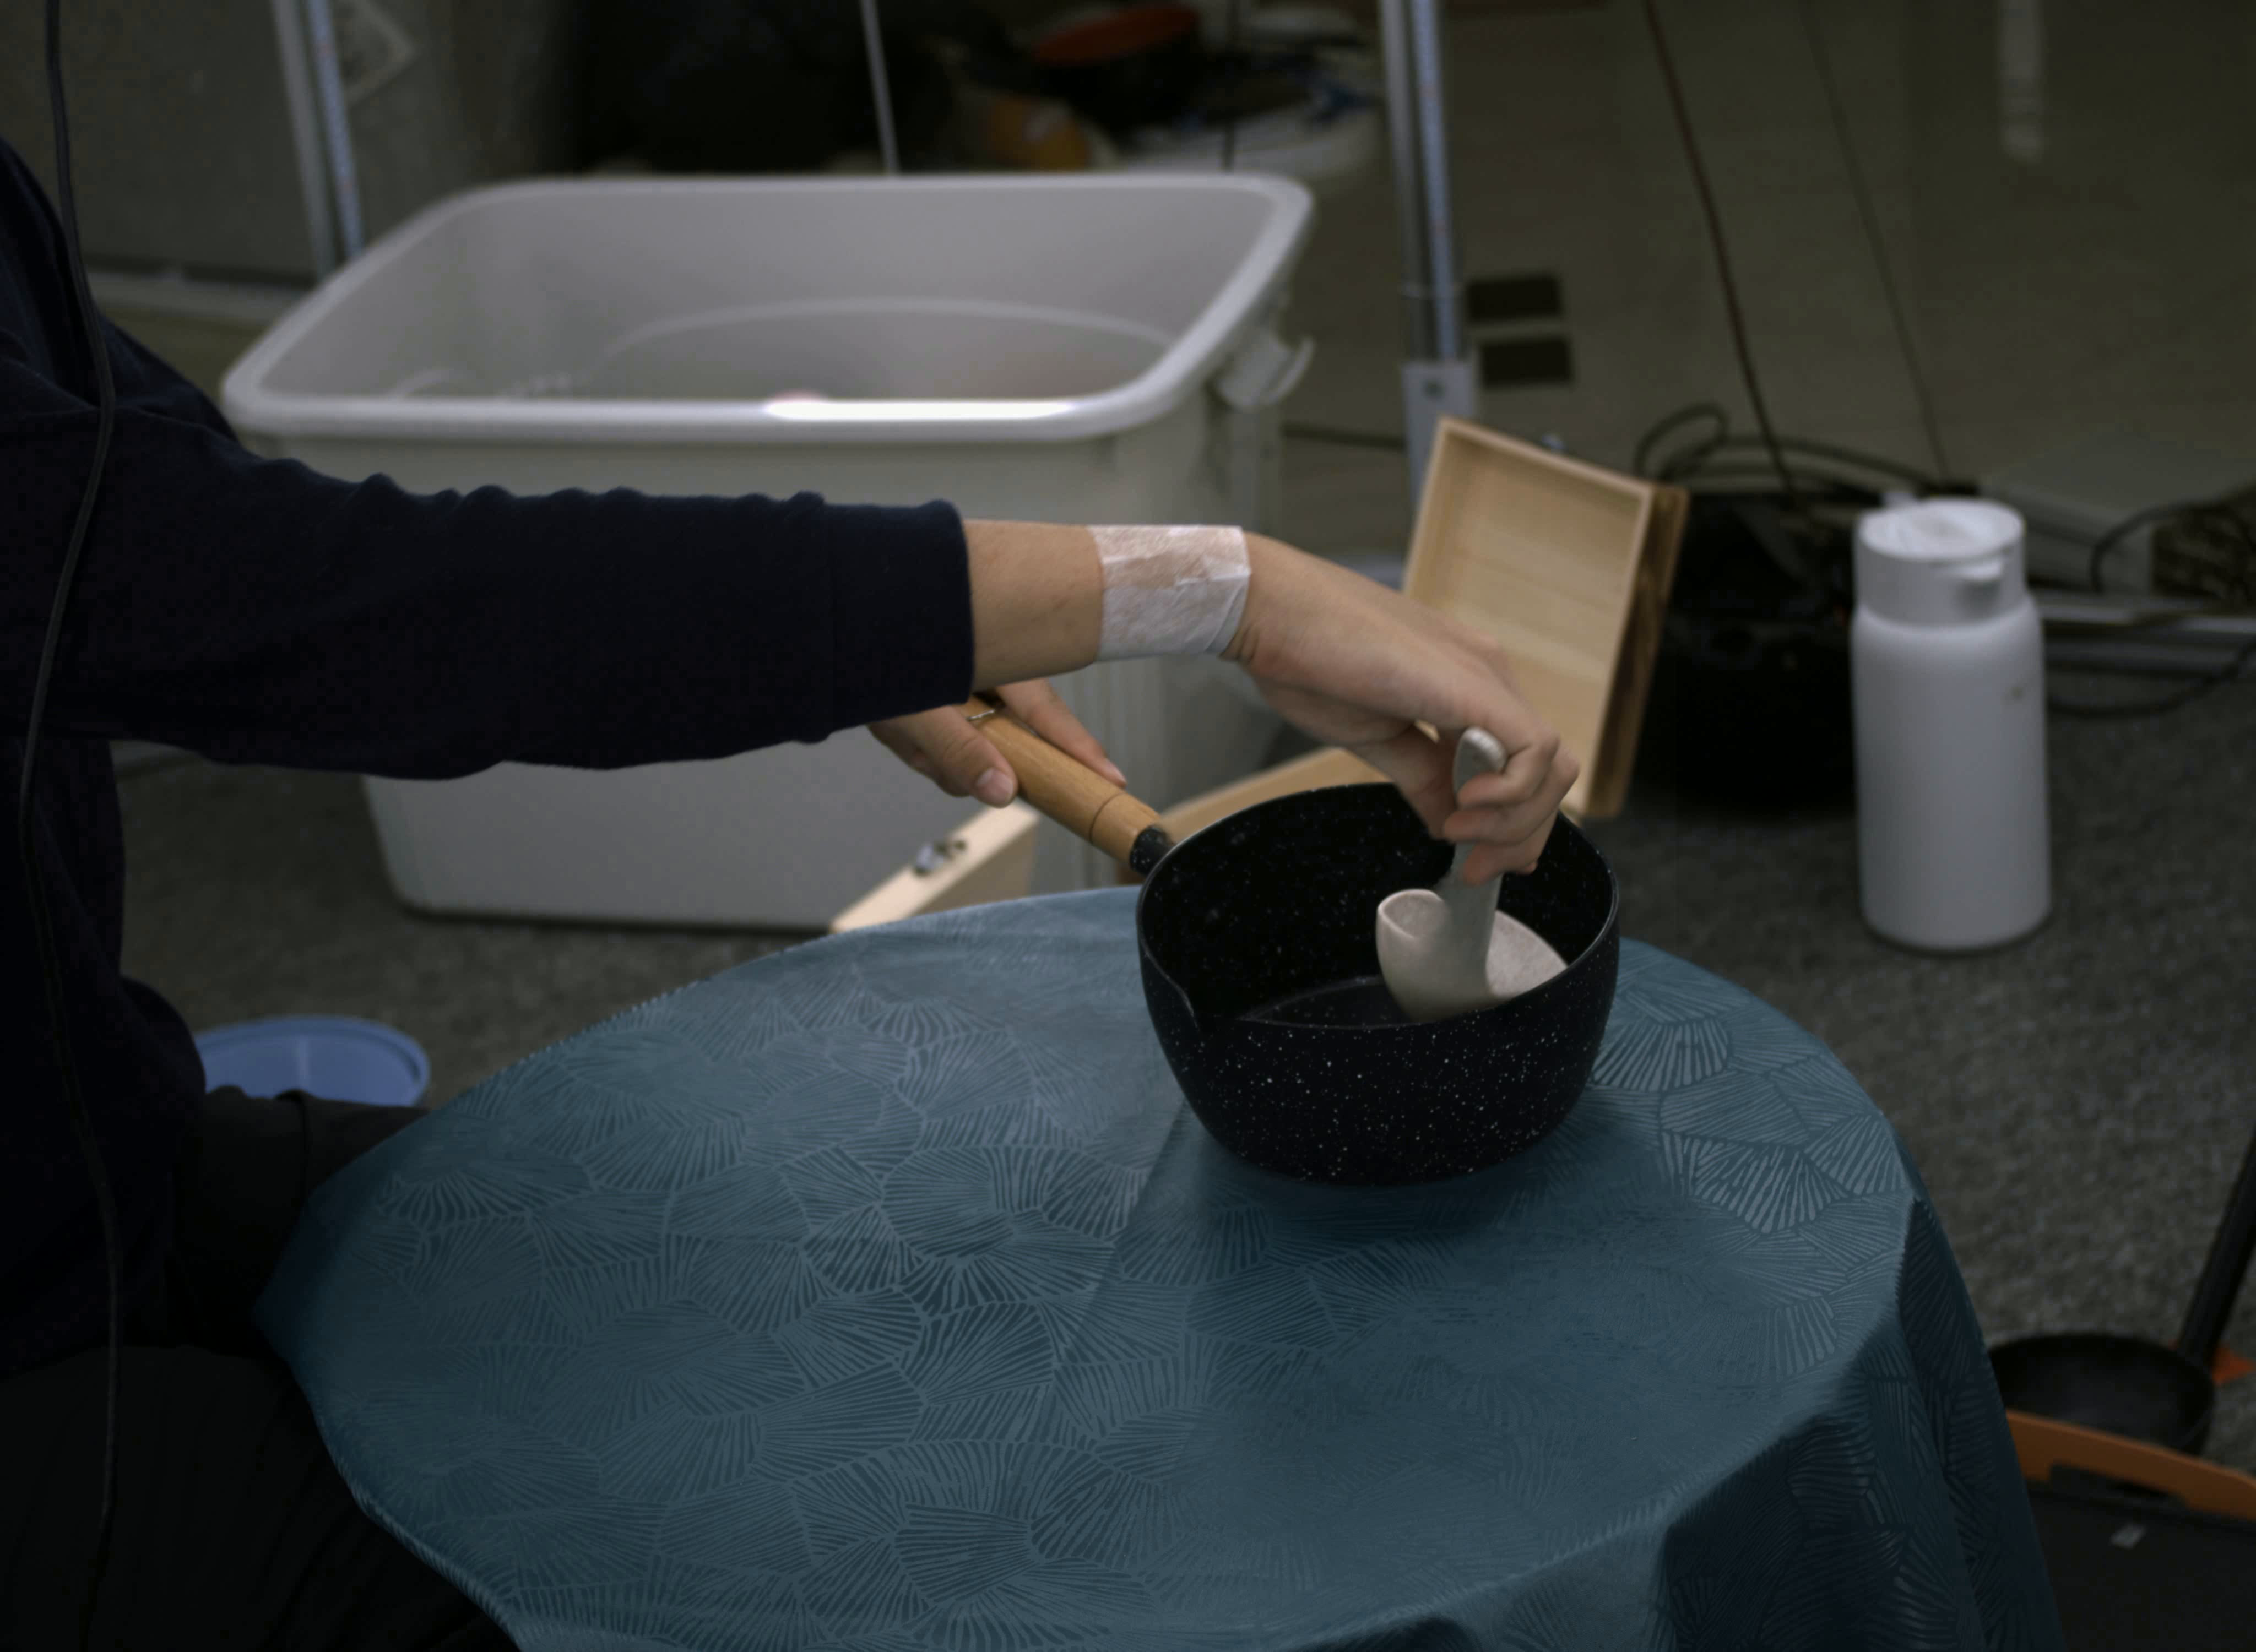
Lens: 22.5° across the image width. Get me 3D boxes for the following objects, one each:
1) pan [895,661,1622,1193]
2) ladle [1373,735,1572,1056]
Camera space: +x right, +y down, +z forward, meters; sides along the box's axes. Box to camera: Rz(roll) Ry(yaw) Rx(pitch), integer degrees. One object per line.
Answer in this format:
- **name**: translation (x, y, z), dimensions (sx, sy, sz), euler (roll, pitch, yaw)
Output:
- **pan**: translation (0.037, 0.032, 2.210), dimensions (0.340, 0.110, 0.205), euler (22, 41, 36)
- **ladle**: translation (0.133, 0.010, 2.029), dimensions (0.089, 0.279, 0.069), euler (41, 71, 15)
